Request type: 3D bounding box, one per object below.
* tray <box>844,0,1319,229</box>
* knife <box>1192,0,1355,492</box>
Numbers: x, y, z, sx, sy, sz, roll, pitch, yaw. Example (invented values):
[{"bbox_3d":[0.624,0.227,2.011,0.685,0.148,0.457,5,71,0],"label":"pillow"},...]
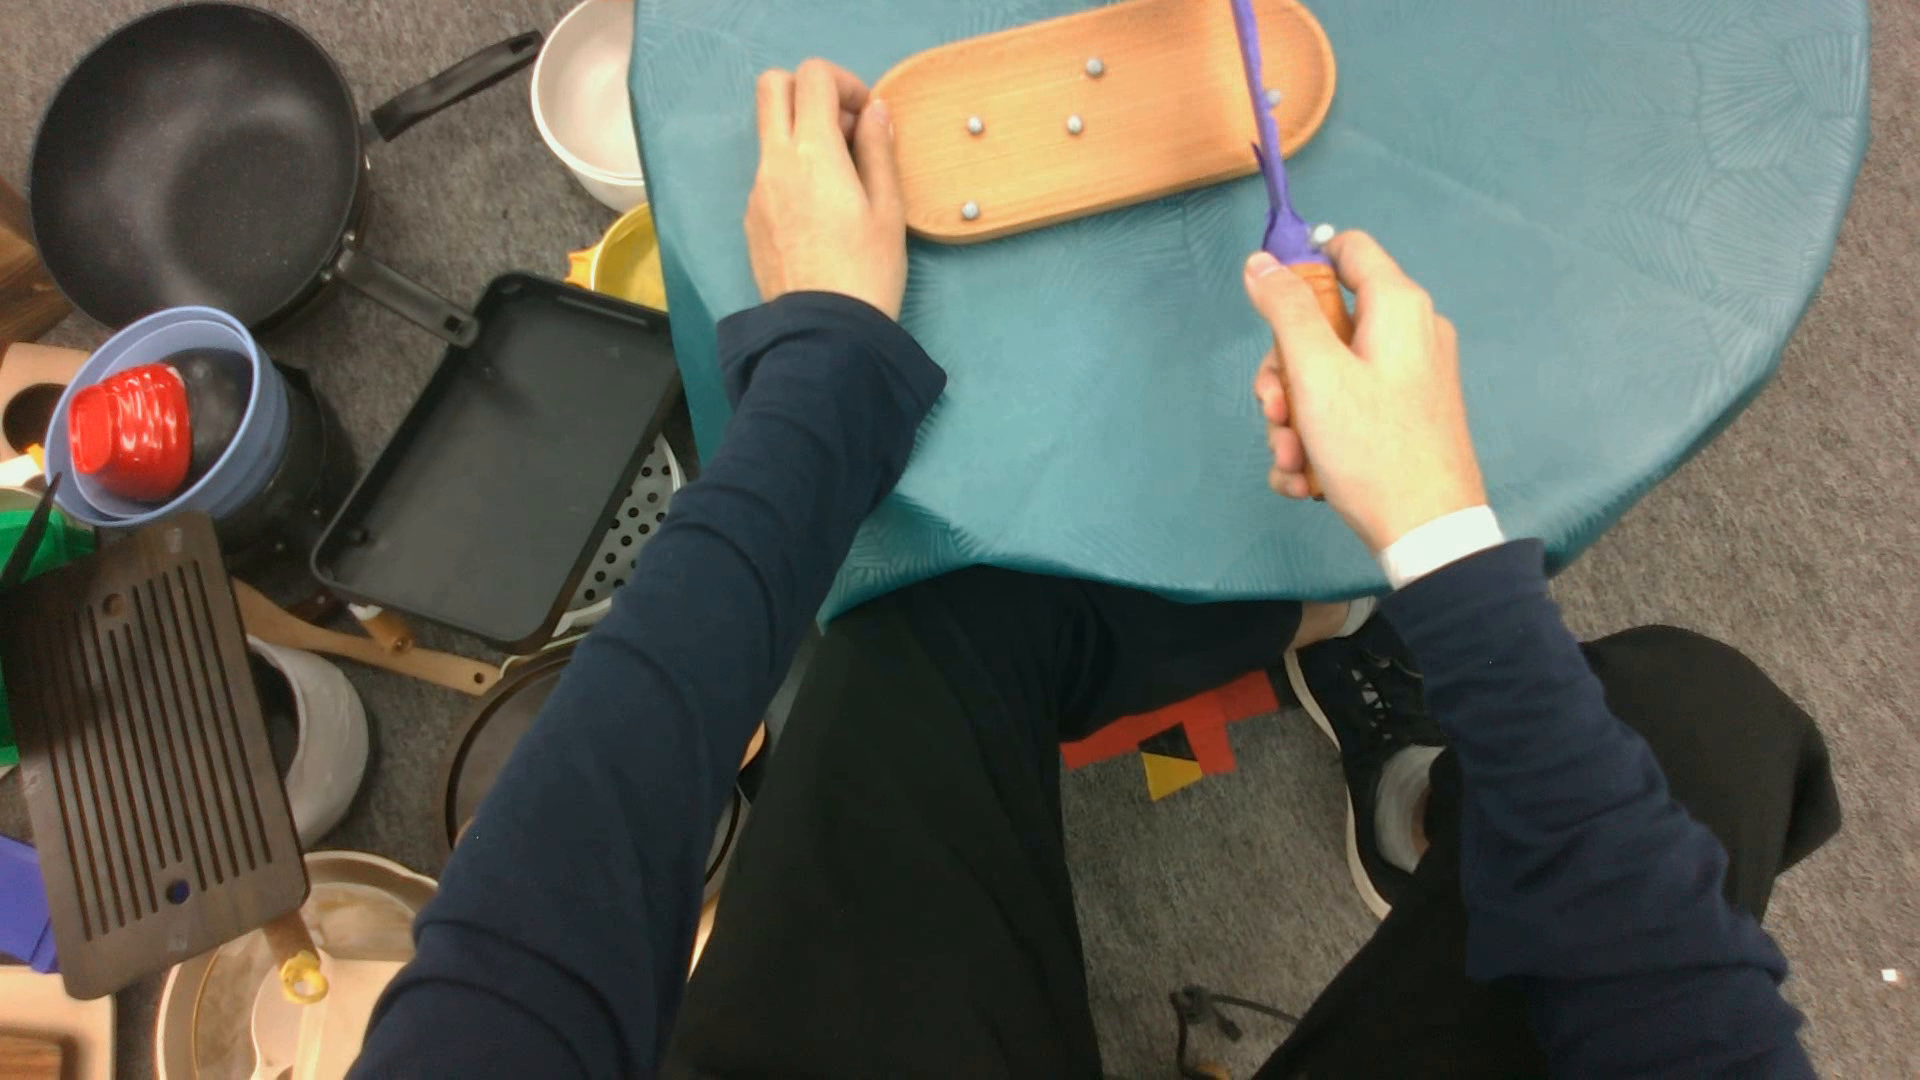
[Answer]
[{"bbox_3d":[0.058,-0.213,0.662,0.231,0.020,0.102,-15,77,-4],"label":"tray"},{"bbox_3d":[0.121,-0.171,0.586,0.032,0.104,0.315,-11,80,13],"label":"knife"}]
